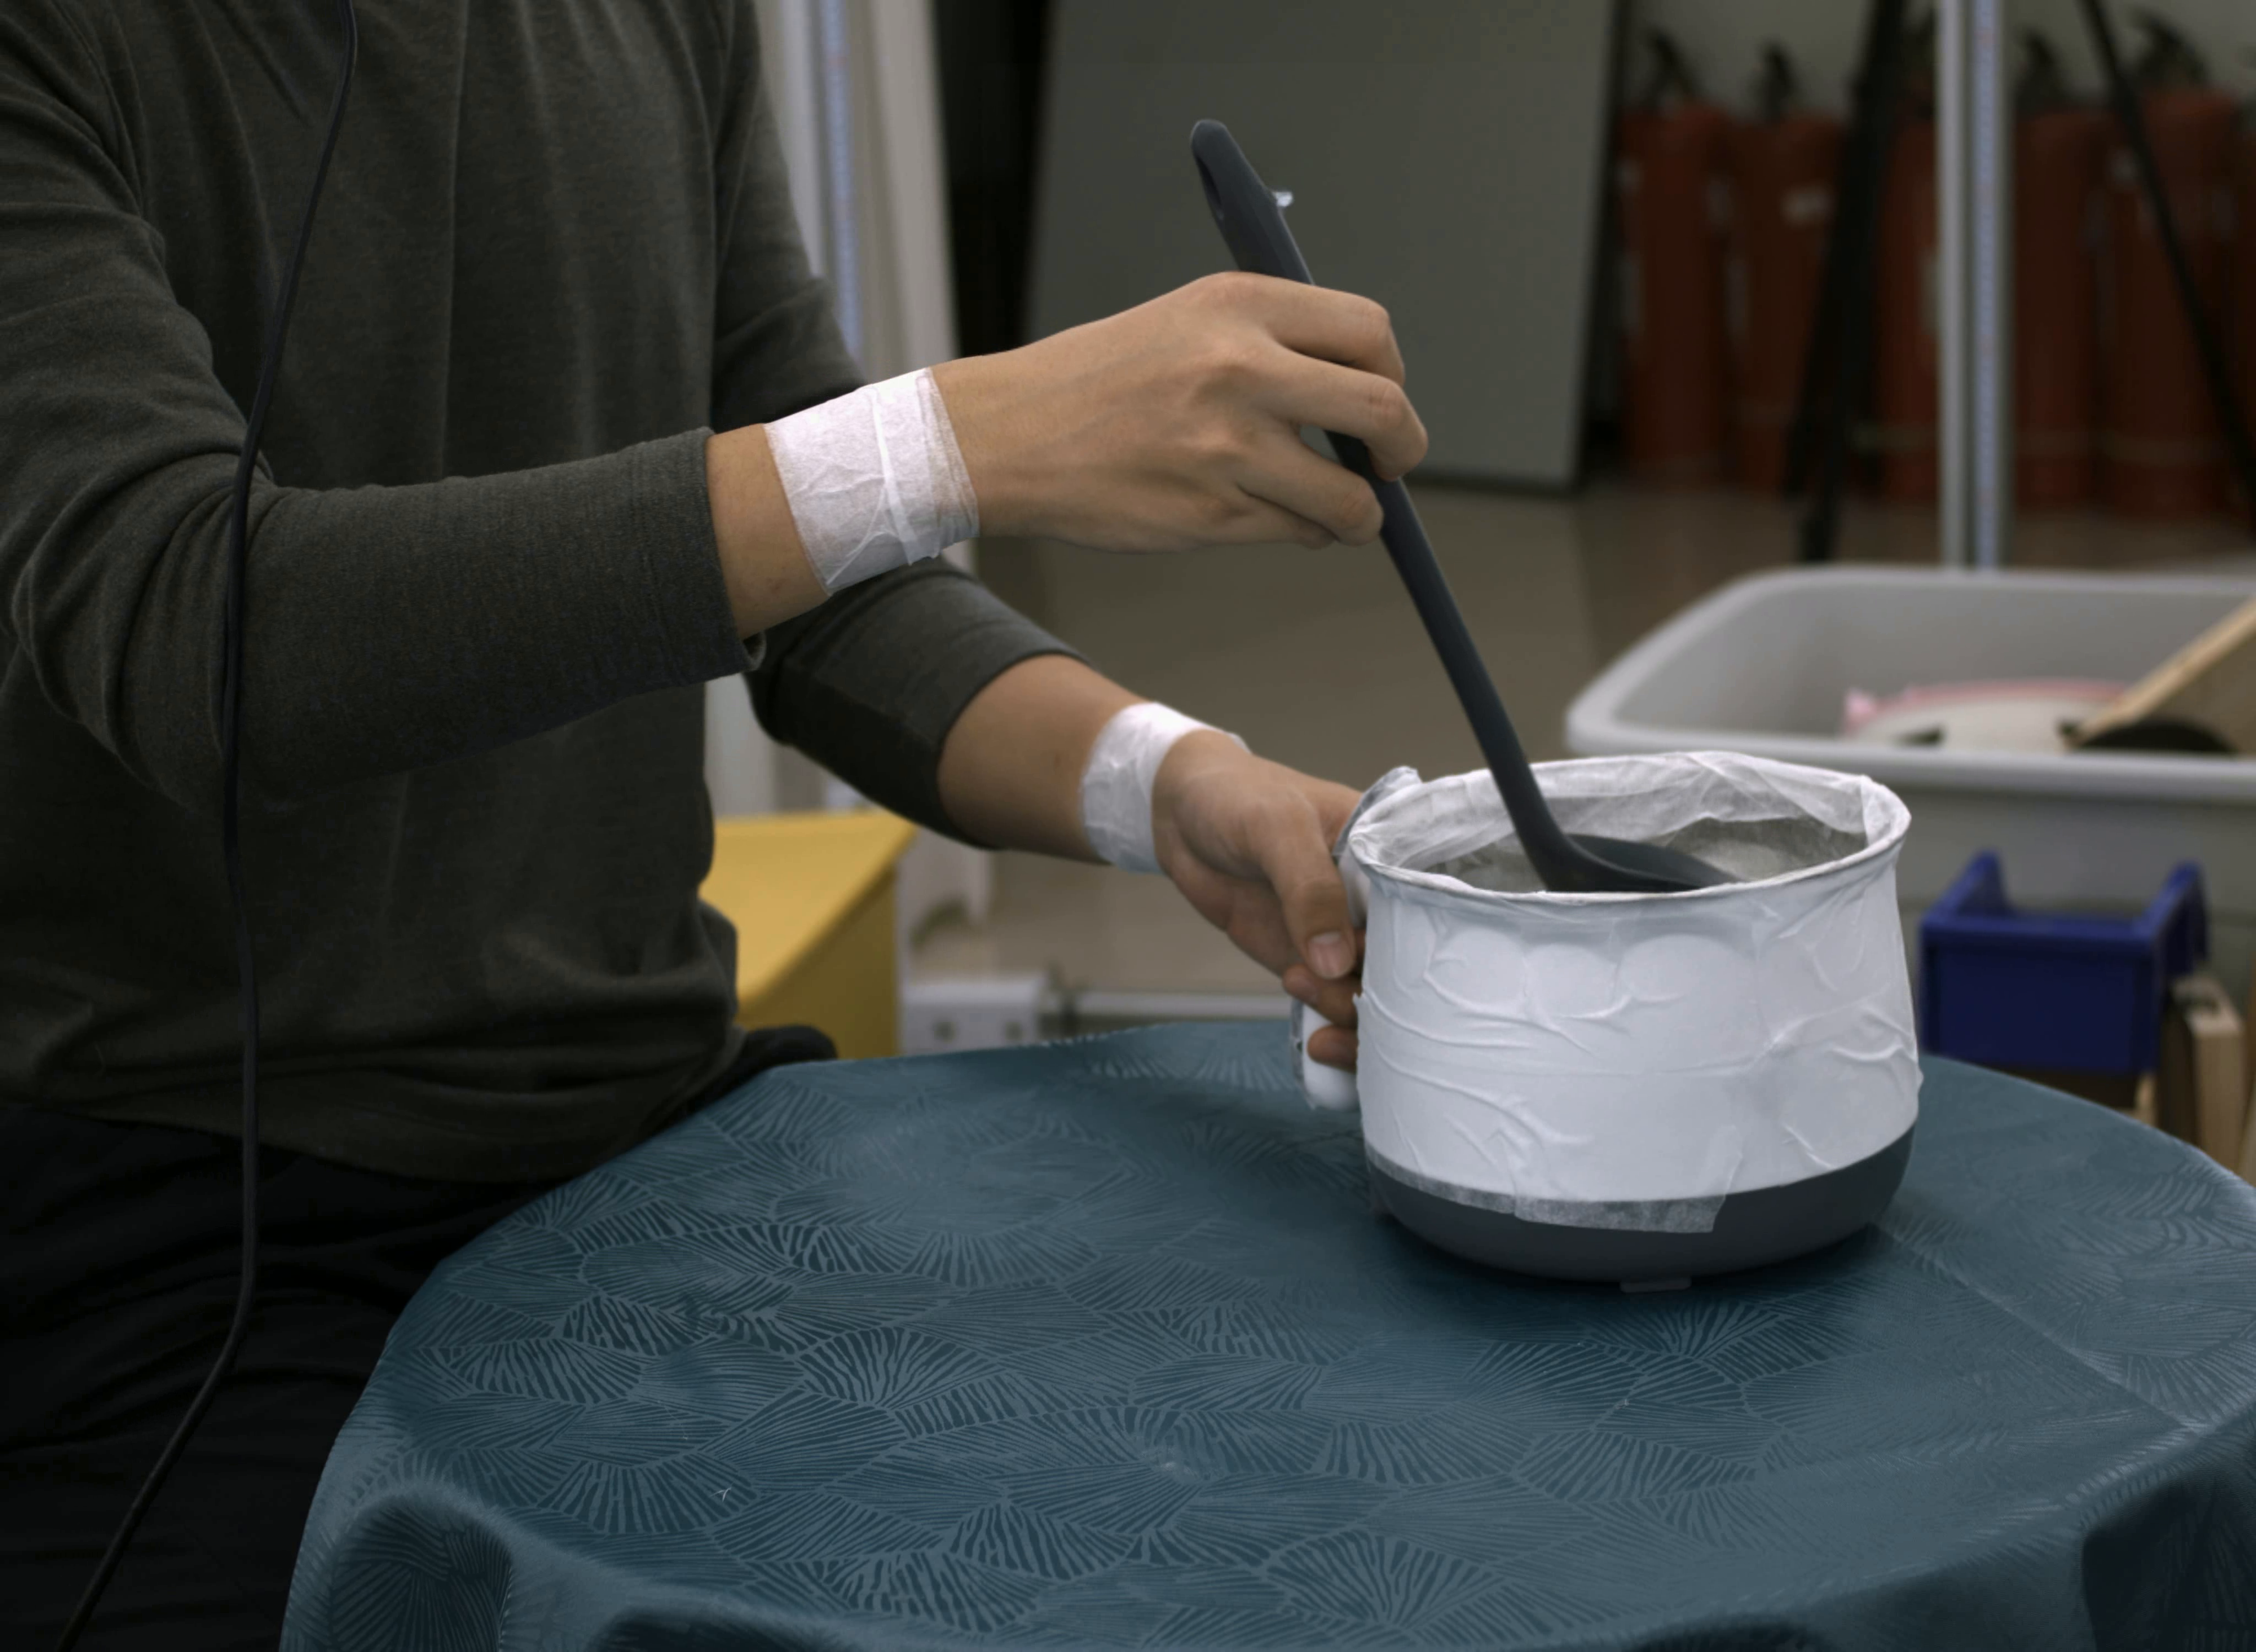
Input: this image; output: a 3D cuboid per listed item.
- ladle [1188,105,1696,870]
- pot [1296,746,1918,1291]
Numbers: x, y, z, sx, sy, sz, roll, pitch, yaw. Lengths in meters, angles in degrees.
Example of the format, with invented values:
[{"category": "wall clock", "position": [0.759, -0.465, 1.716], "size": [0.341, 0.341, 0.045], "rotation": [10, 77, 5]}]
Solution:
[{"category": "ladle", "position": [0.107, -0.091, 1.662], "size": [0.063, 0.315, 0.087], "rotation": [-32, 17, -16]}, {"category": "pot", "position": [0.141, 0.055, 1.712], "size": [0.175, 0.138, 0.236], "rotation": [-15, 18, -41]}]
